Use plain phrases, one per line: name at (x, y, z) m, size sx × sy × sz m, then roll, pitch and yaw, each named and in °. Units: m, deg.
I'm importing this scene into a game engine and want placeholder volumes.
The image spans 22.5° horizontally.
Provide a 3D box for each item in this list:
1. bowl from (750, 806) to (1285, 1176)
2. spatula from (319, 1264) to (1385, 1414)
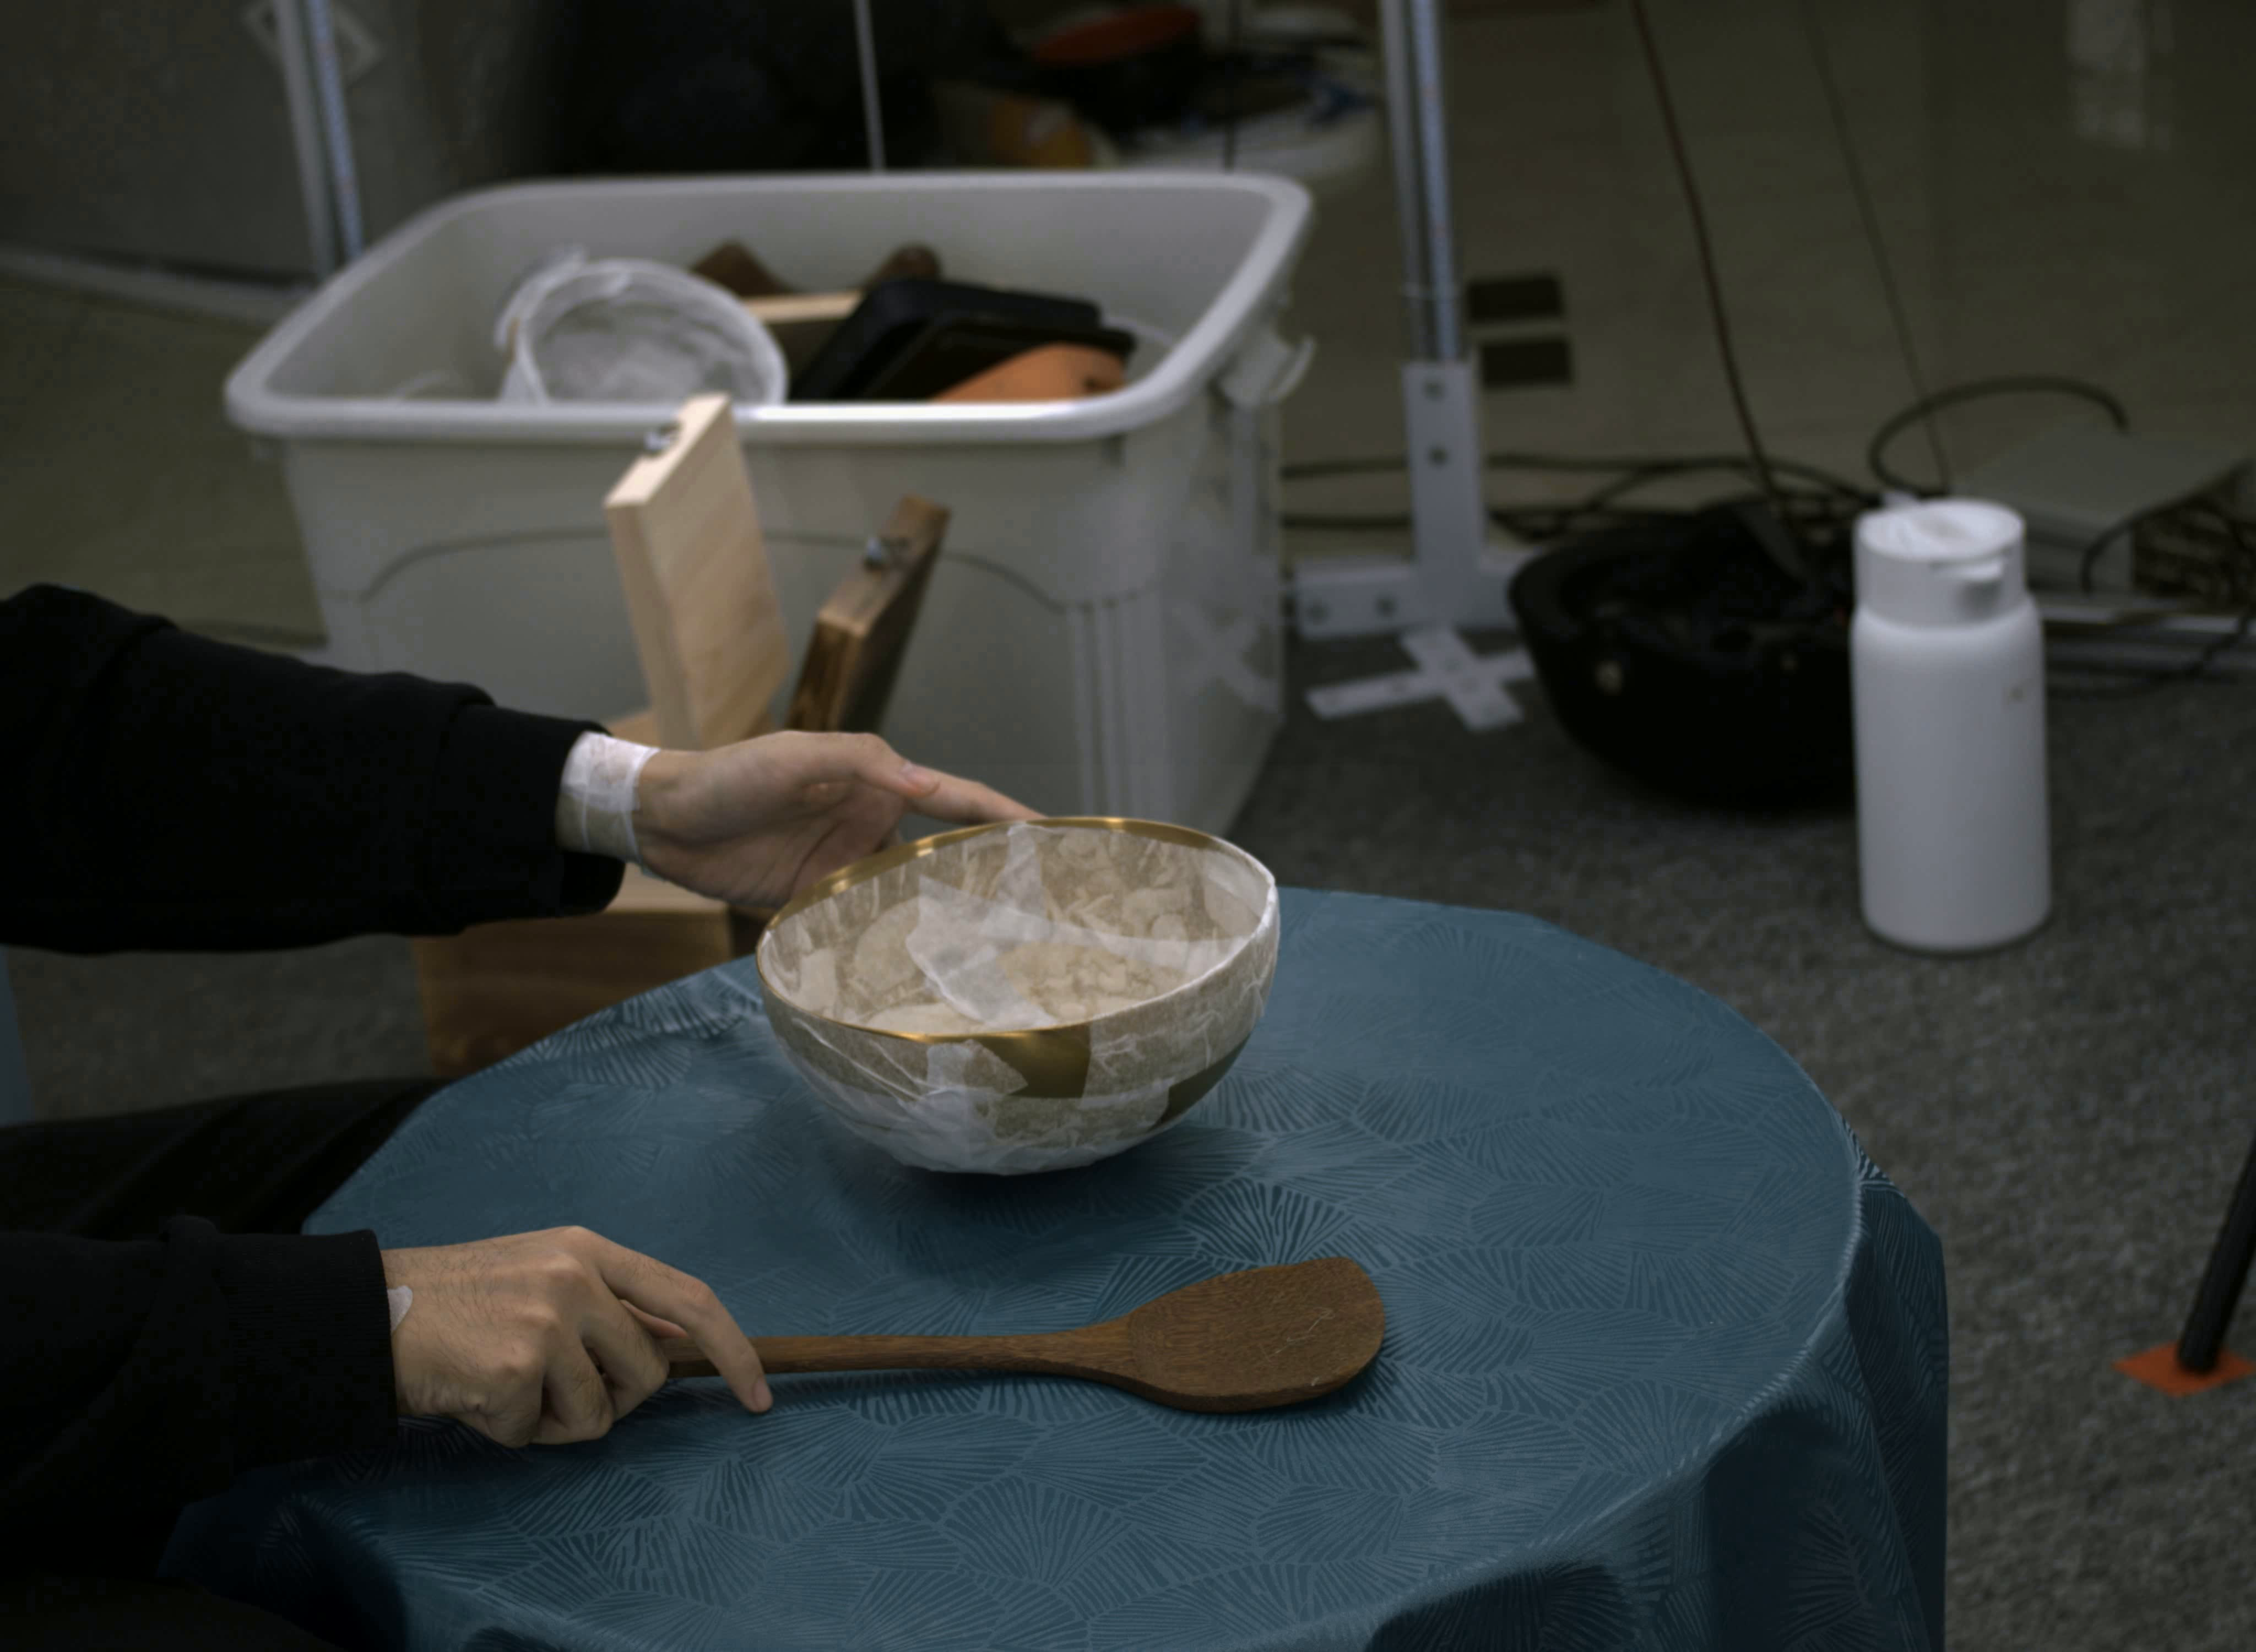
bowl at (-0.039, 0.075, 2.185) m, size 0.214 × 0.096 × 0.211 m, roll -7°, pitch 24°, yaw 3°
spatula at (-0.100, 0.190, 2.039) m, size 0.385 × 0.016 × 0.095 m, roll -2°, pitch 24°, yaw 3°
